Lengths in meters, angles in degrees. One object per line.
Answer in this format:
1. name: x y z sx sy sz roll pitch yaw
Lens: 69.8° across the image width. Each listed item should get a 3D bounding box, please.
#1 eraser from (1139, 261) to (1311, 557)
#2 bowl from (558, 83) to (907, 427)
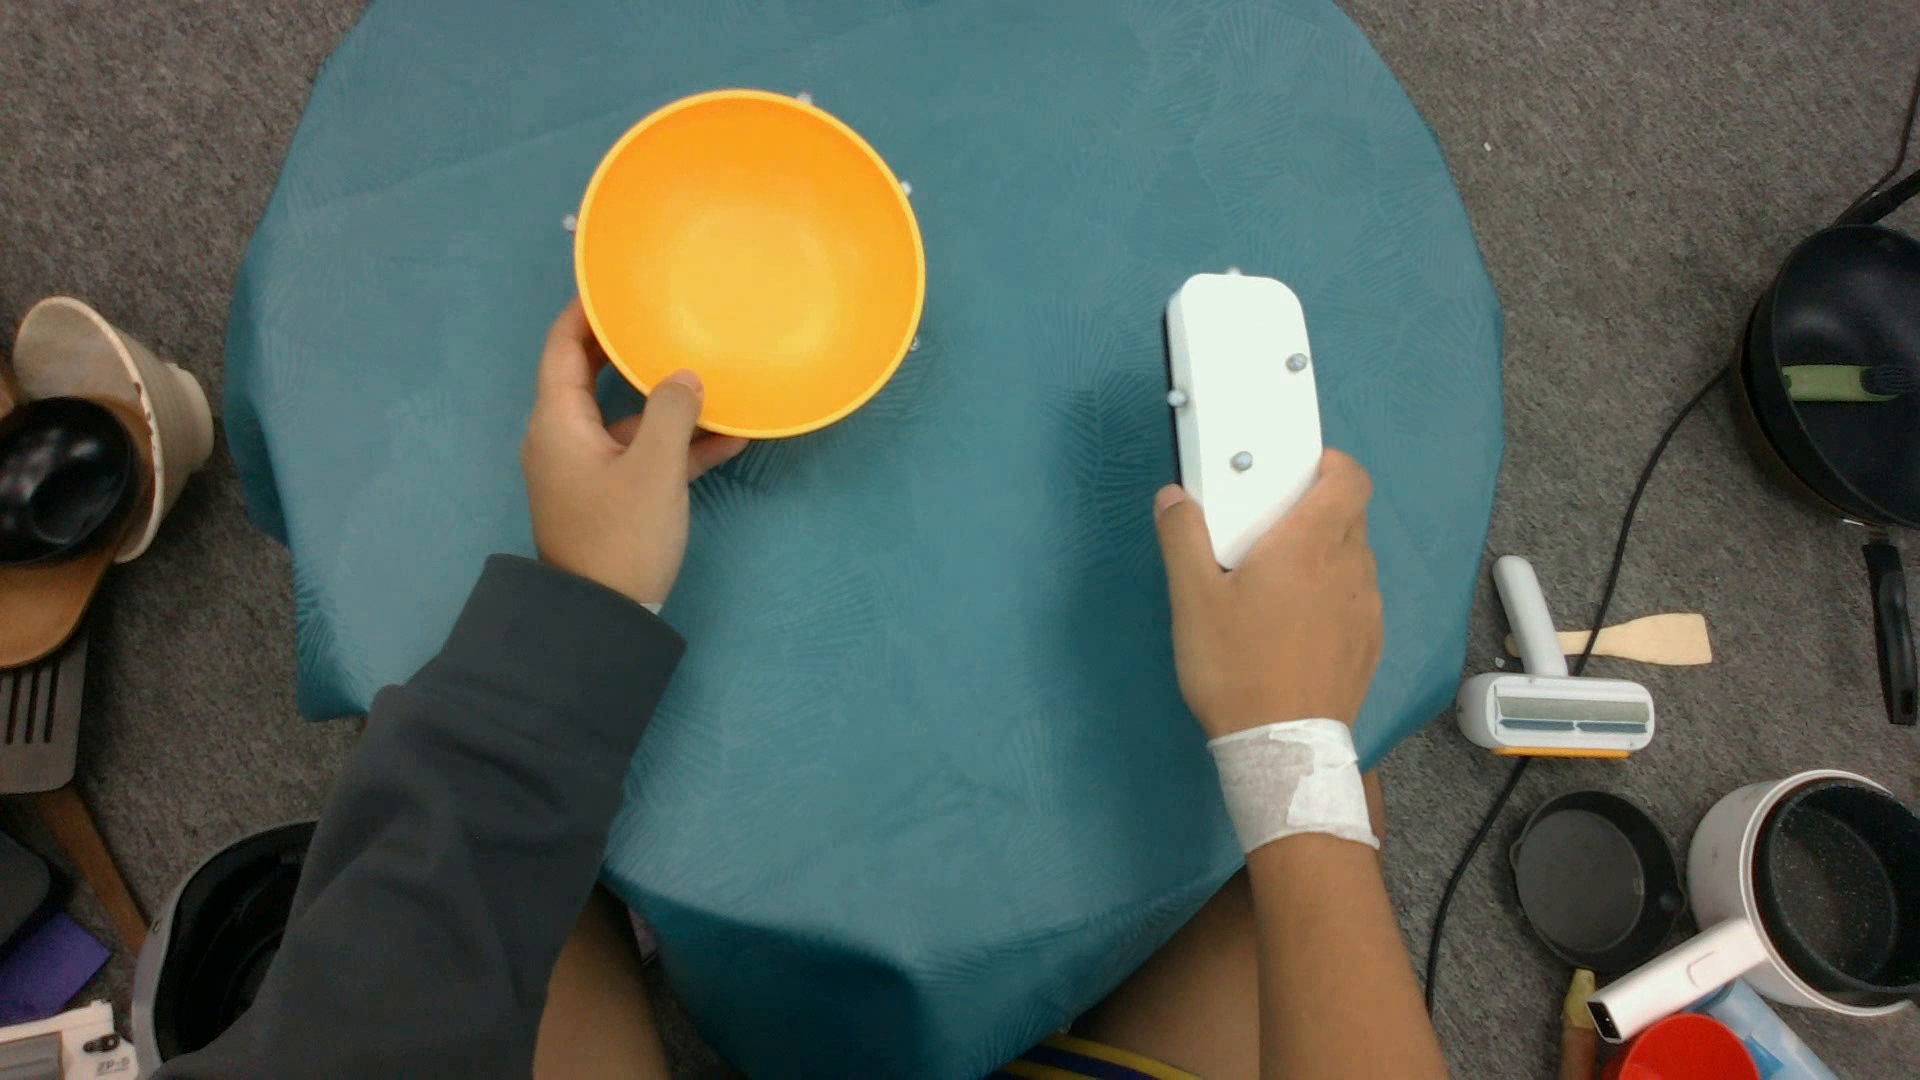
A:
1. eraser: 0.114 -0.057 0.600 0.063 0.034 0.131 -1 79 -23
2. bowl: -0.100 -0.121 0.605 0.145 0.060 0.145 -1 93 -14
